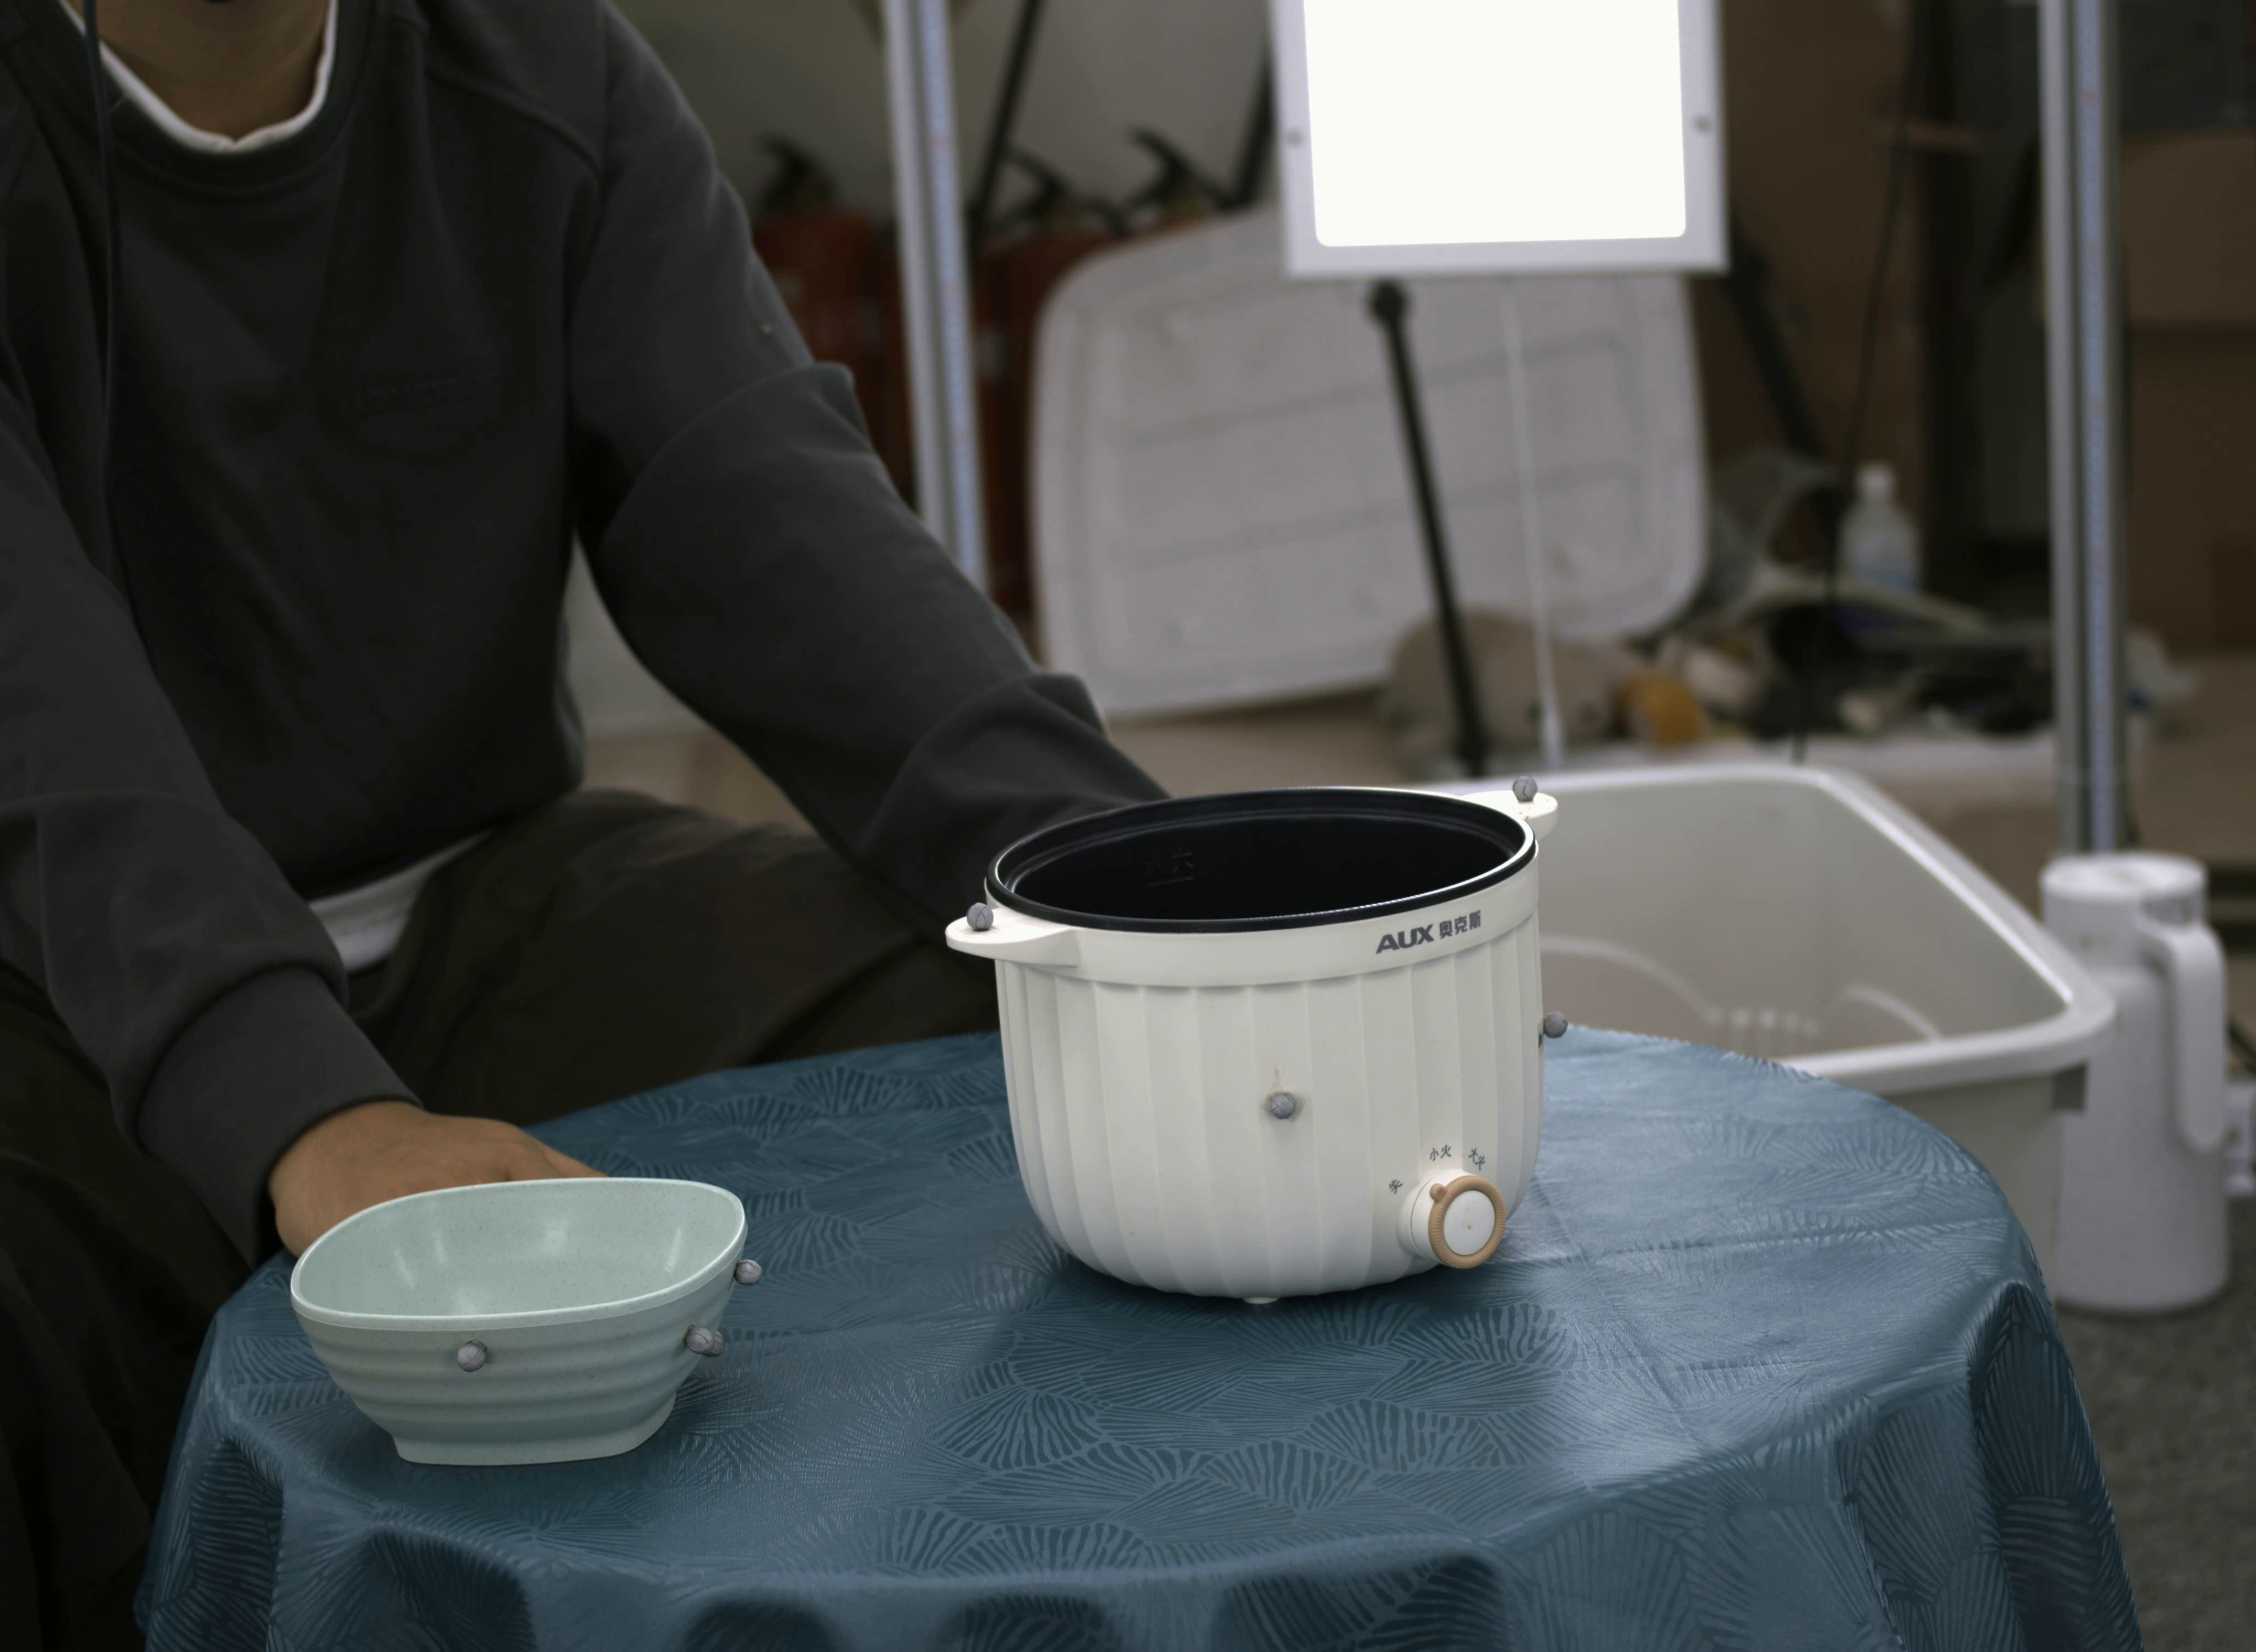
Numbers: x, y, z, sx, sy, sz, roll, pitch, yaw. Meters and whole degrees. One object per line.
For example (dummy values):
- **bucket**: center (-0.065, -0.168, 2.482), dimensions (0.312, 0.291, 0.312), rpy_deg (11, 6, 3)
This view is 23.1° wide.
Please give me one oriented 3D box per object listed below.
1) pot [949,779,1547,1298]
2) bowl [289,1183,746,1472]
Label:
- **pot**: center (0.052, 0.071, 1.809), dimensions (0.234, 0.143, 0.194), rpy_deg (-16, 14, -33)
- **bowl**: center (-0.187, 0.159, 1.715), dimensions (0.151, 0.059, 0.151), rpy_deg (-3, 14, -1)
